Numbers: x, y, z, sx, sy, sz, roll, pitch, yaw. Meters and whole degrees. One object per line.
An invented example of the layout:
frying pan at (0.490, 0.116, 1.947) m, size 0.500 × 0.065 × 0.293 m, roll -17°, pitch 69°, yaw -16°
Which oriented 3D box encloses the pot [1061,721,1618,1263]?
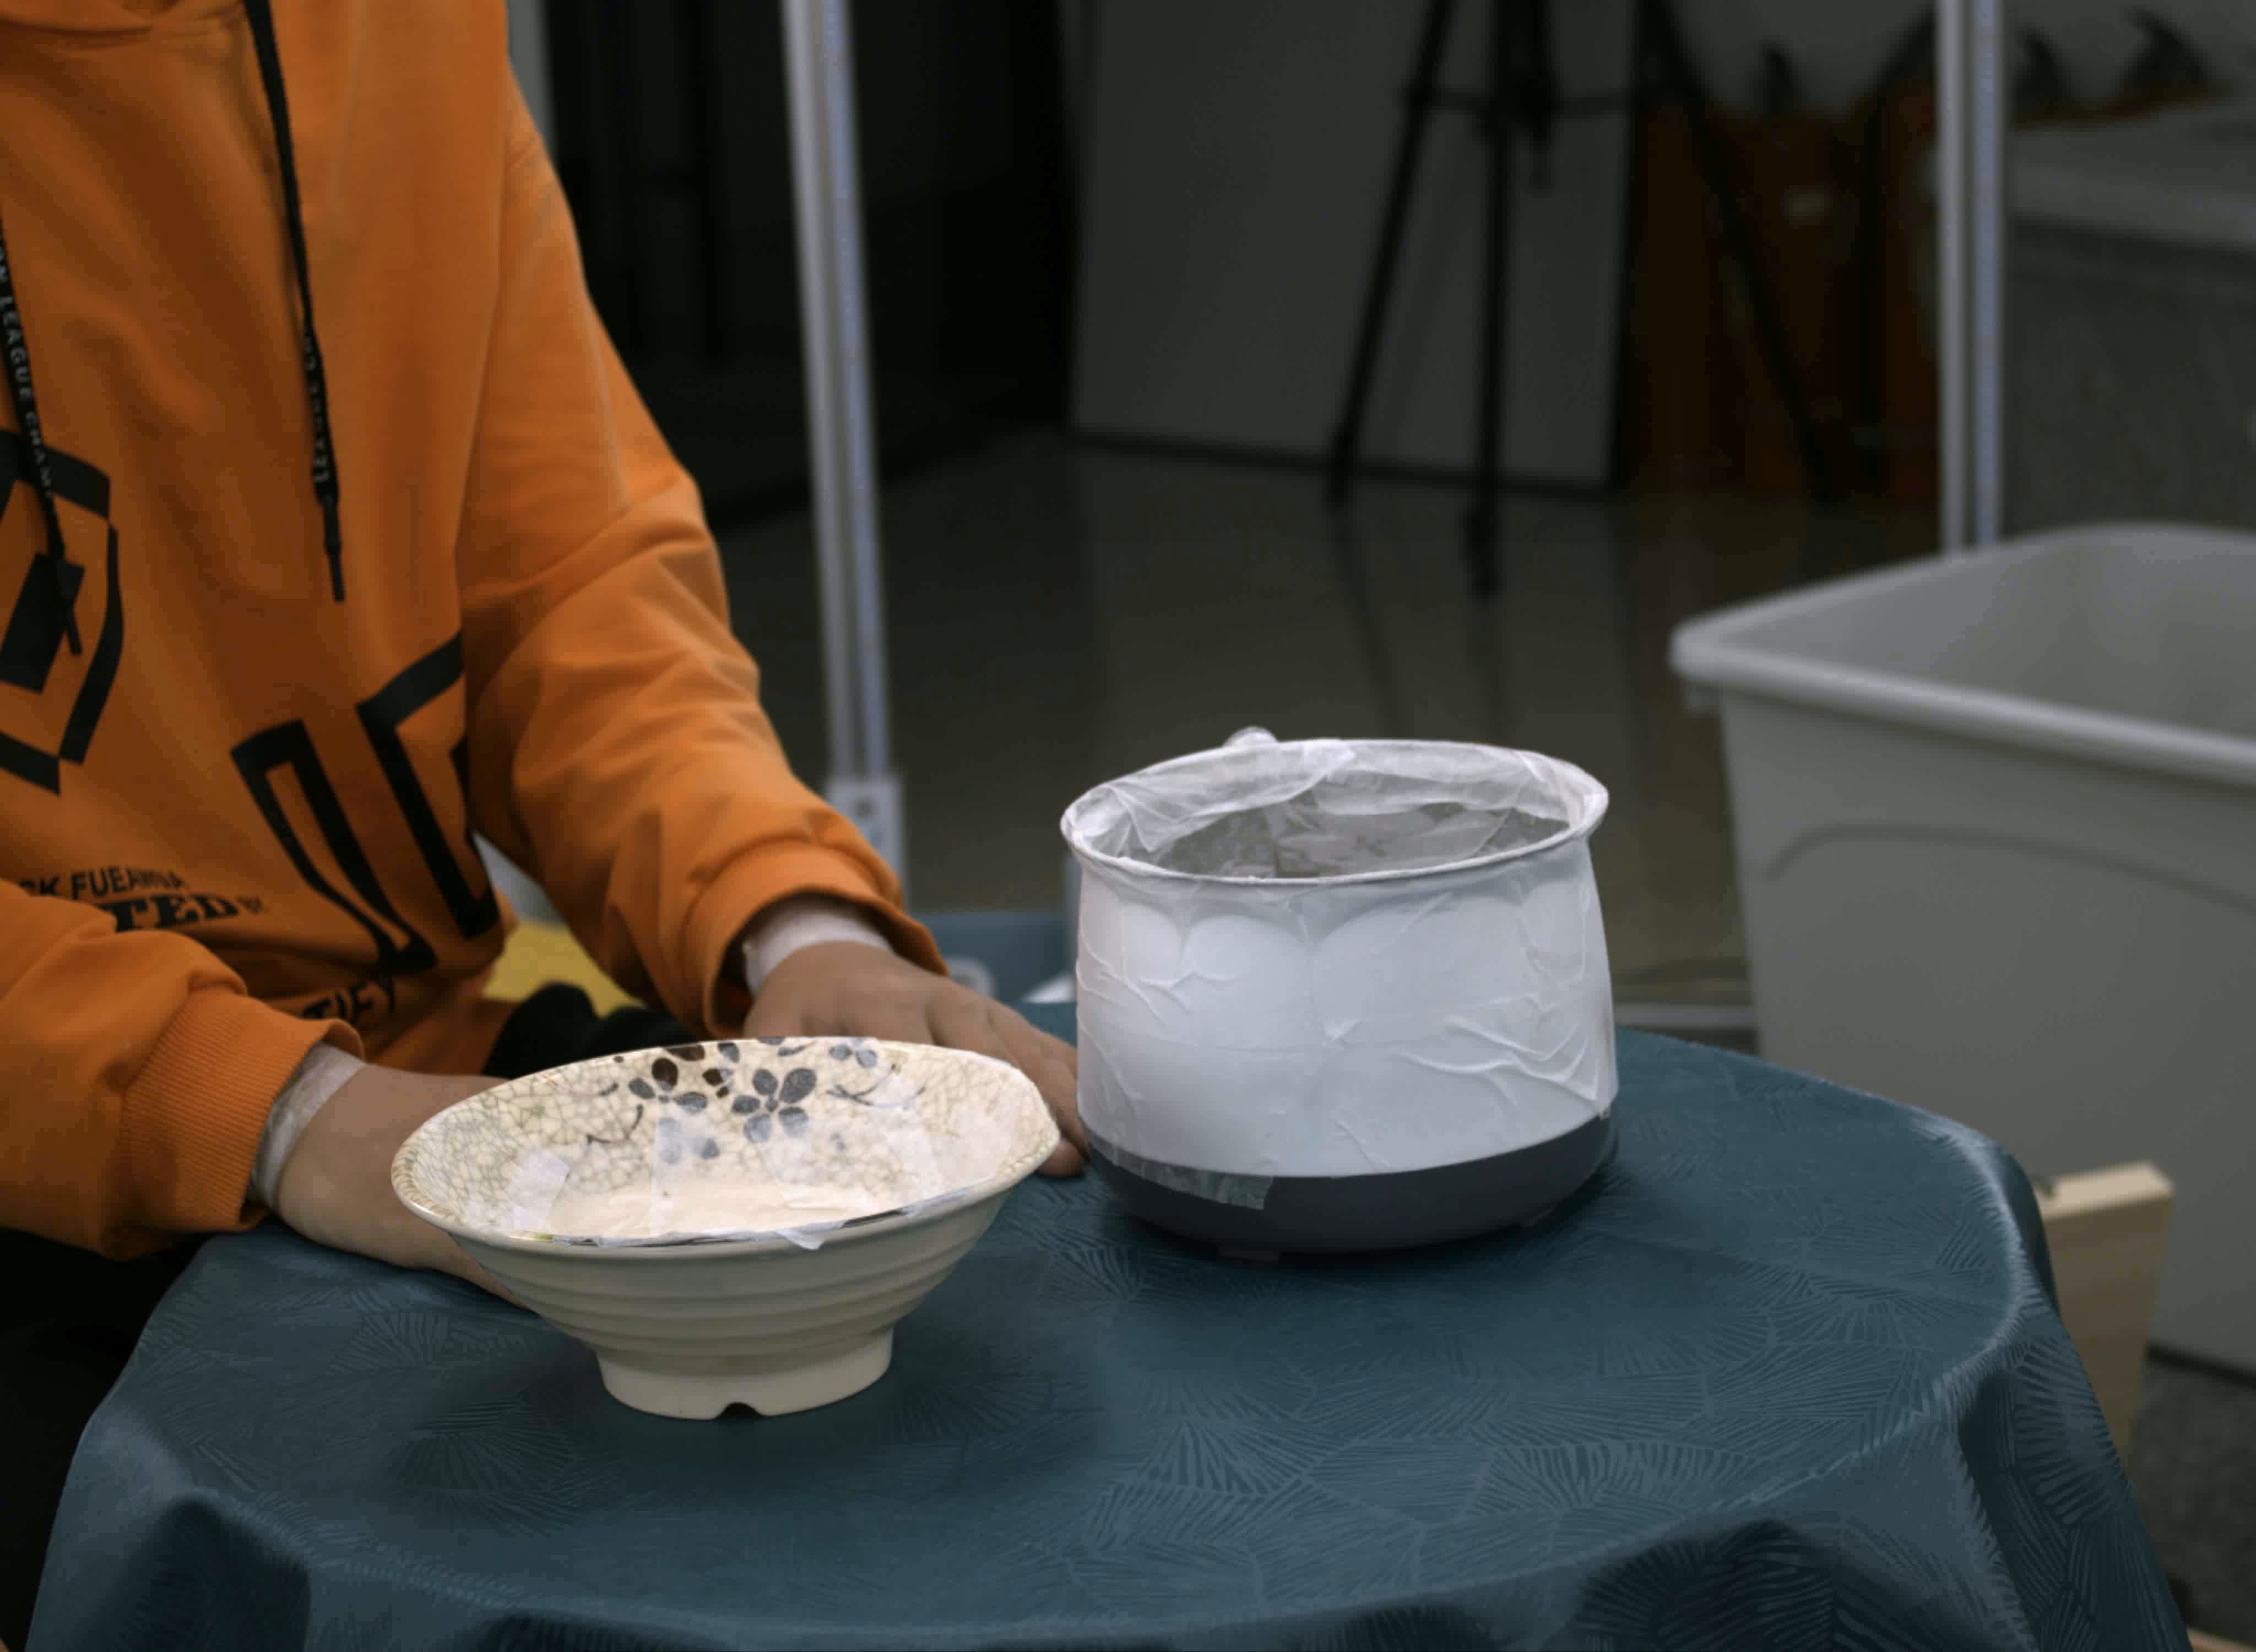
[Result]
pot at (0.062, 0.048, 1.760) m, size 0.175 × 0.138 × 0.235 m, roll -7°, pitch 14°, yaw -14°

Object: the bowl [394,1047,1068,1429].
bowl at (-0.114, 0.129, 1.615) m, size 0.201 × 0.079 × 0.204 m, roll -6°, pitch 12°, yaw 0°
